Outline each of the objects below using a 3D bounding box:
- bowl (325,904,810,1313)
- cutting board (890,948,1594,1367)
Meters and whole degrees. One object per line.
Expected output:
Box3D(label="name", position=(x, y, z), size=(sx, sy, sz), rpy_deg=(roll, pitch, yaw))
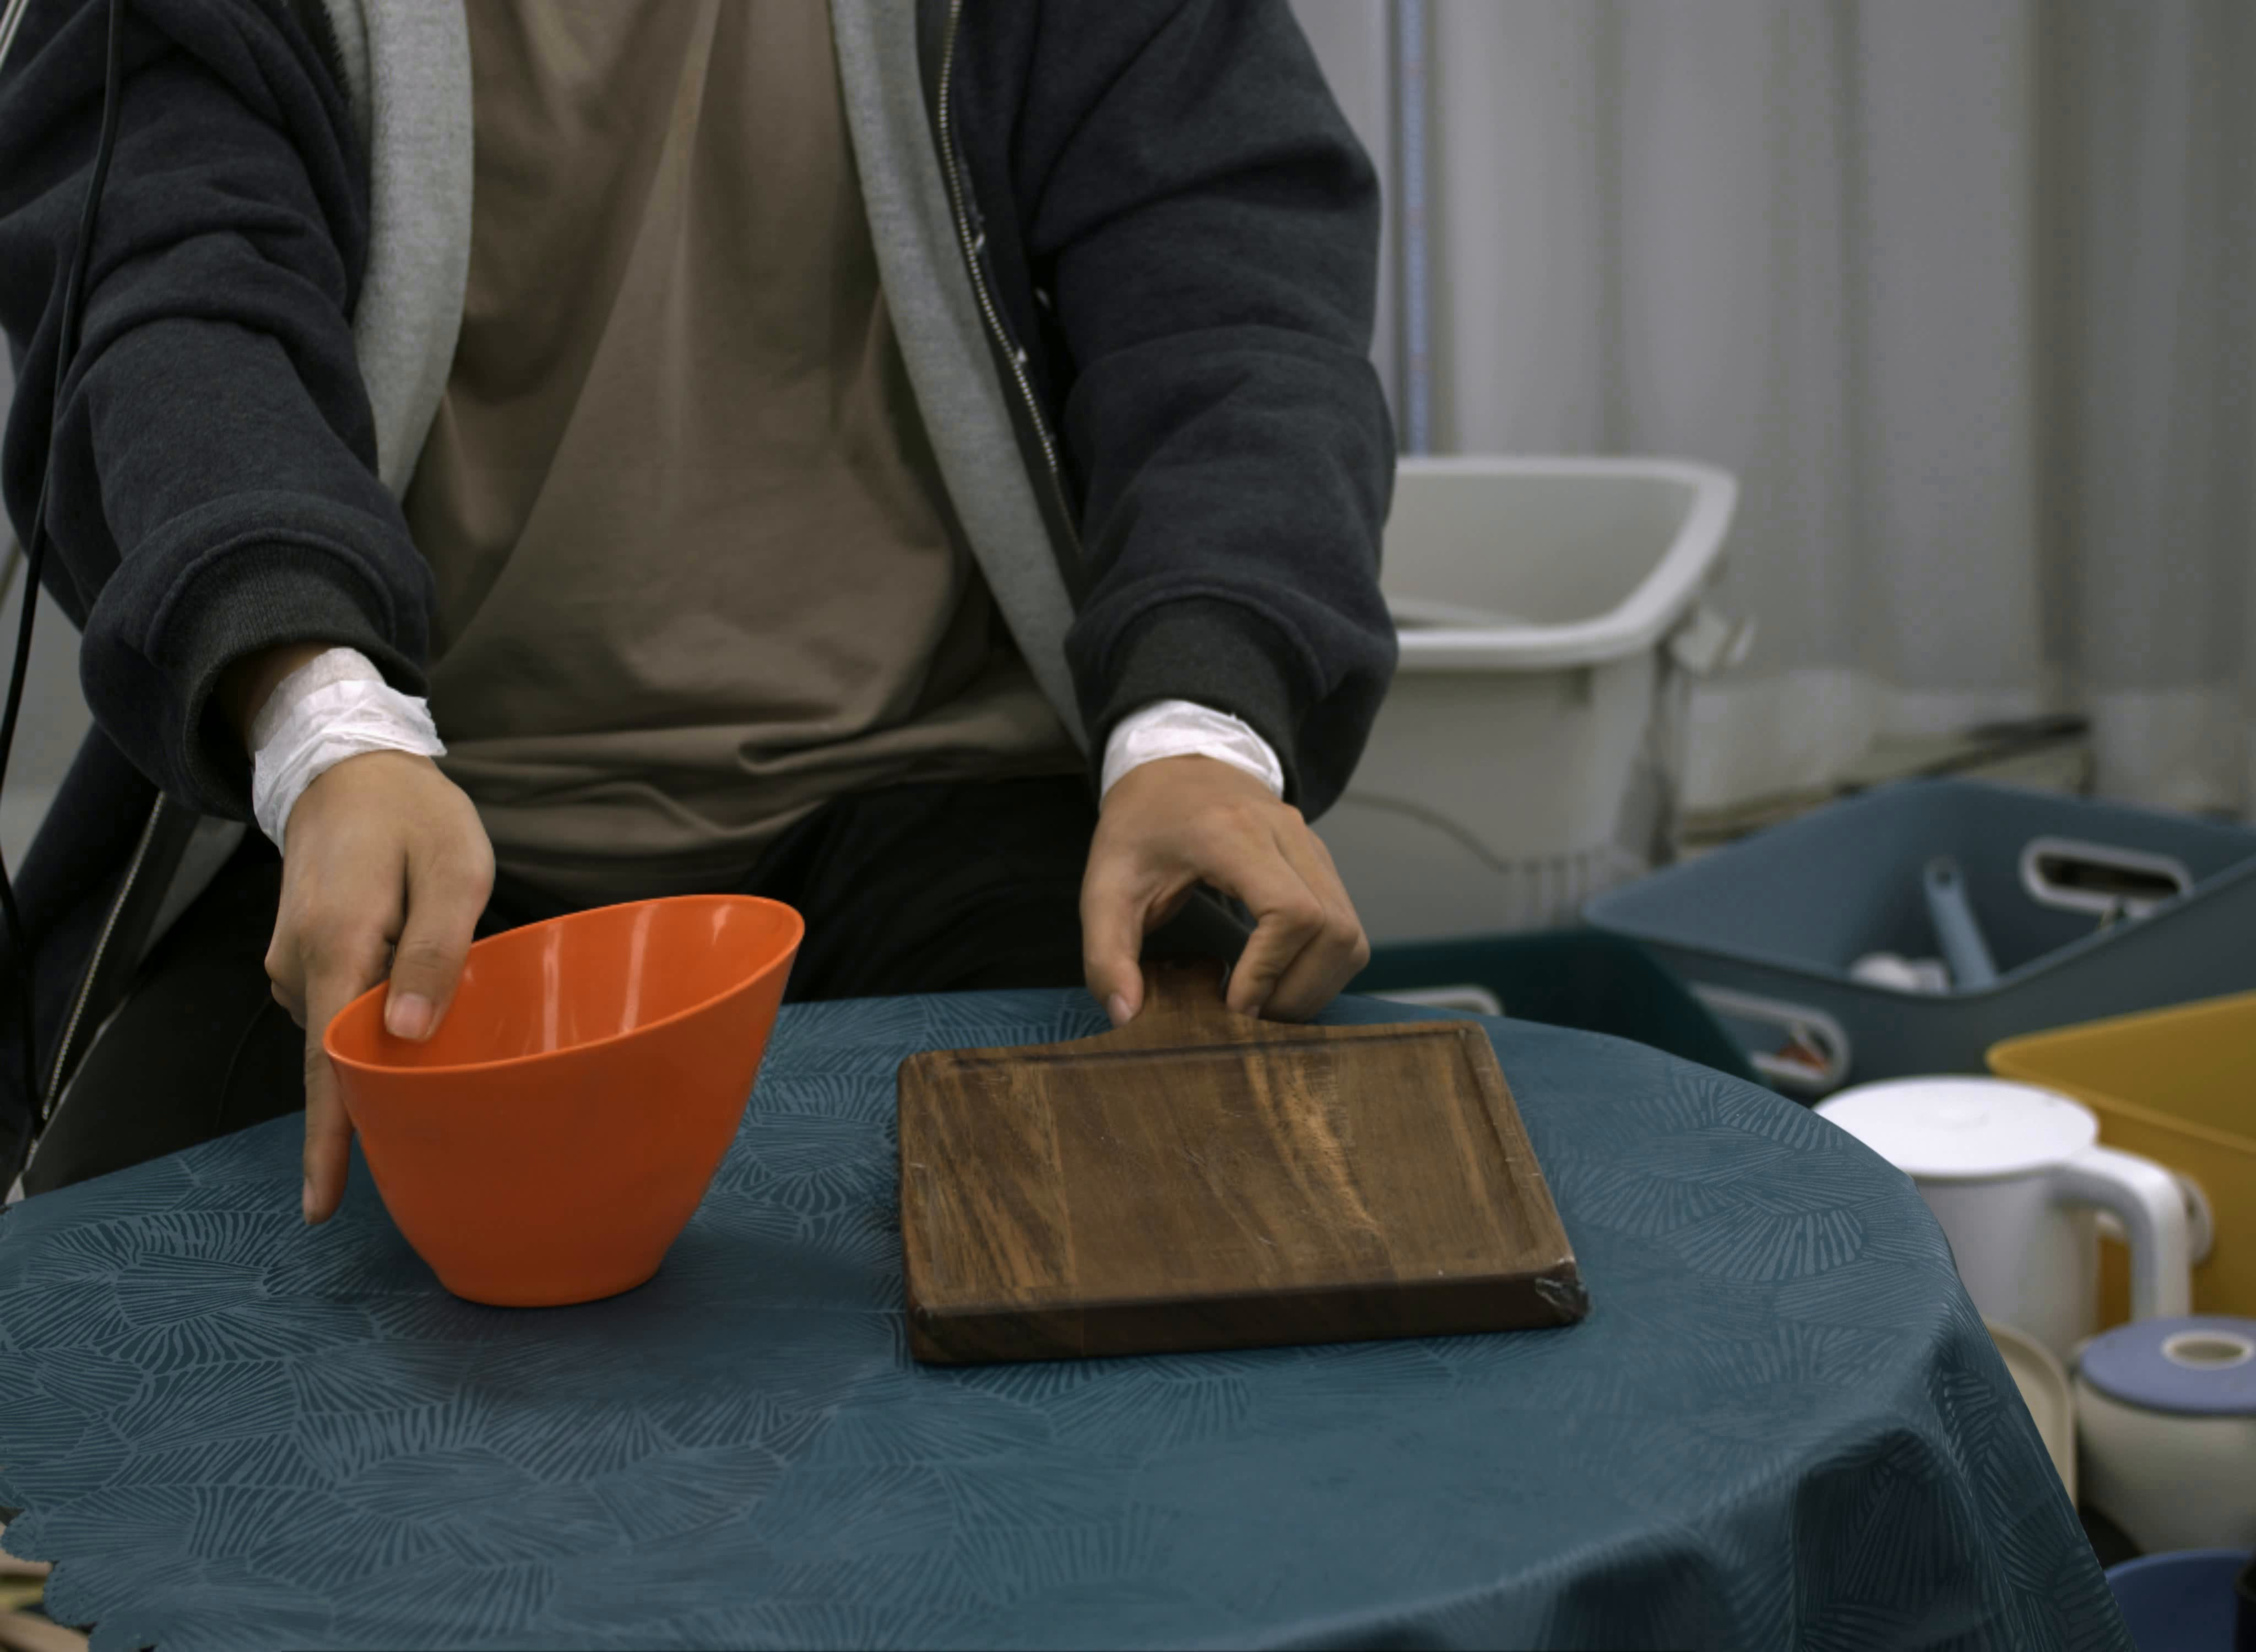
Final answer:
Box3D(label="bowl", position=(-0.166, 0.088, 1.656), size=(0.147, 0.104, 0.149), rpy_deg=(-3, 12, 0))
Box3D(label="cutting board", position=(0.026, 0.097, 1.738), size=(0.200, 0.023, 0.354), rpy_deg=(-3, 15, -2))
